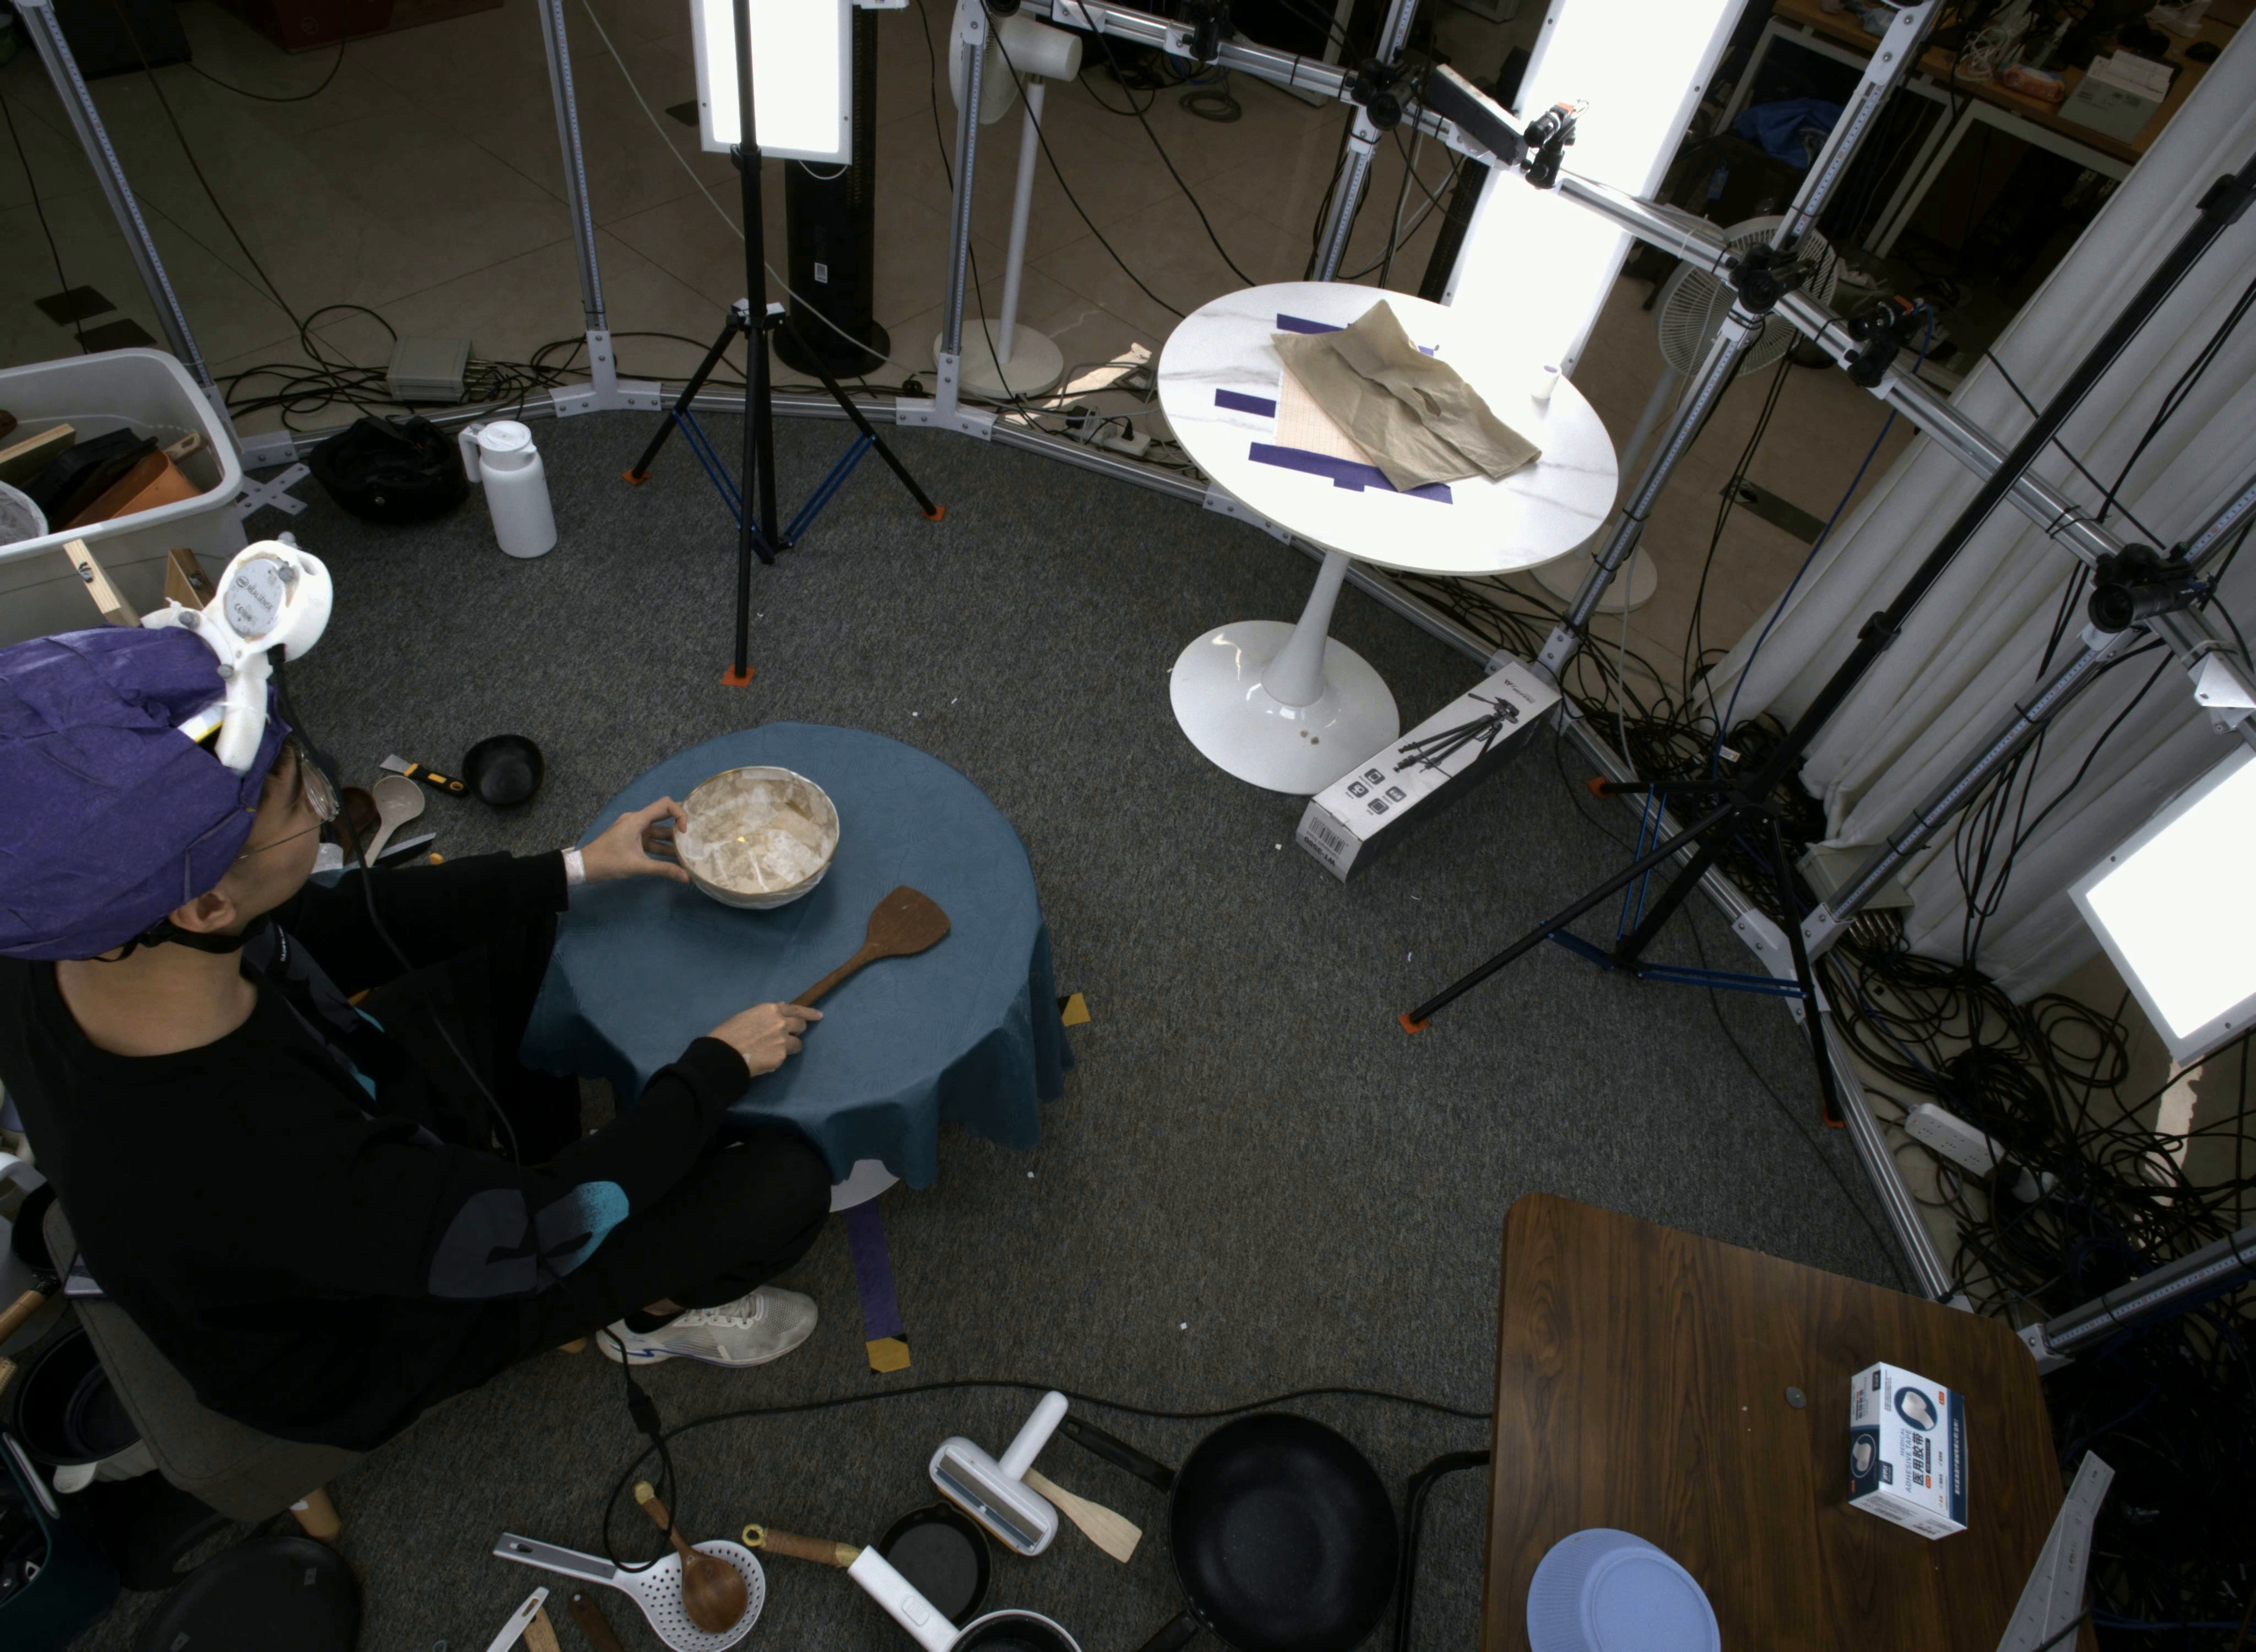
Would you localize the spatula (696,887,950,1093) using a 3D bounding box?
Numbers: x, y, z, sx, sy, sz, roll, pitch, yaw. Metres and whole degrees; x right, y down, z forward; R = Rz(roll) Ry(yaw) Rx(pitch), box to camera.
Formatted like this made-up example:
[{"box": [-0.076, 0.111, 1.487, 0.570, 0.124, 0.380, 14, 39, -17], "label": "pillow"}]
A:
[{"box": [-0.371, 0.196, 1.577, 0.094, 0.016, 0.386, 38, 50, 15], "label": "spatula"}]

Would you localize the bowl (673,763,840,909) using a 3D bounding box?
[{"box": [-0.470, 0.027, 1.636, 0.214, 0.096, 0.211, 8, 53, -10], "label": "bowl"}]
